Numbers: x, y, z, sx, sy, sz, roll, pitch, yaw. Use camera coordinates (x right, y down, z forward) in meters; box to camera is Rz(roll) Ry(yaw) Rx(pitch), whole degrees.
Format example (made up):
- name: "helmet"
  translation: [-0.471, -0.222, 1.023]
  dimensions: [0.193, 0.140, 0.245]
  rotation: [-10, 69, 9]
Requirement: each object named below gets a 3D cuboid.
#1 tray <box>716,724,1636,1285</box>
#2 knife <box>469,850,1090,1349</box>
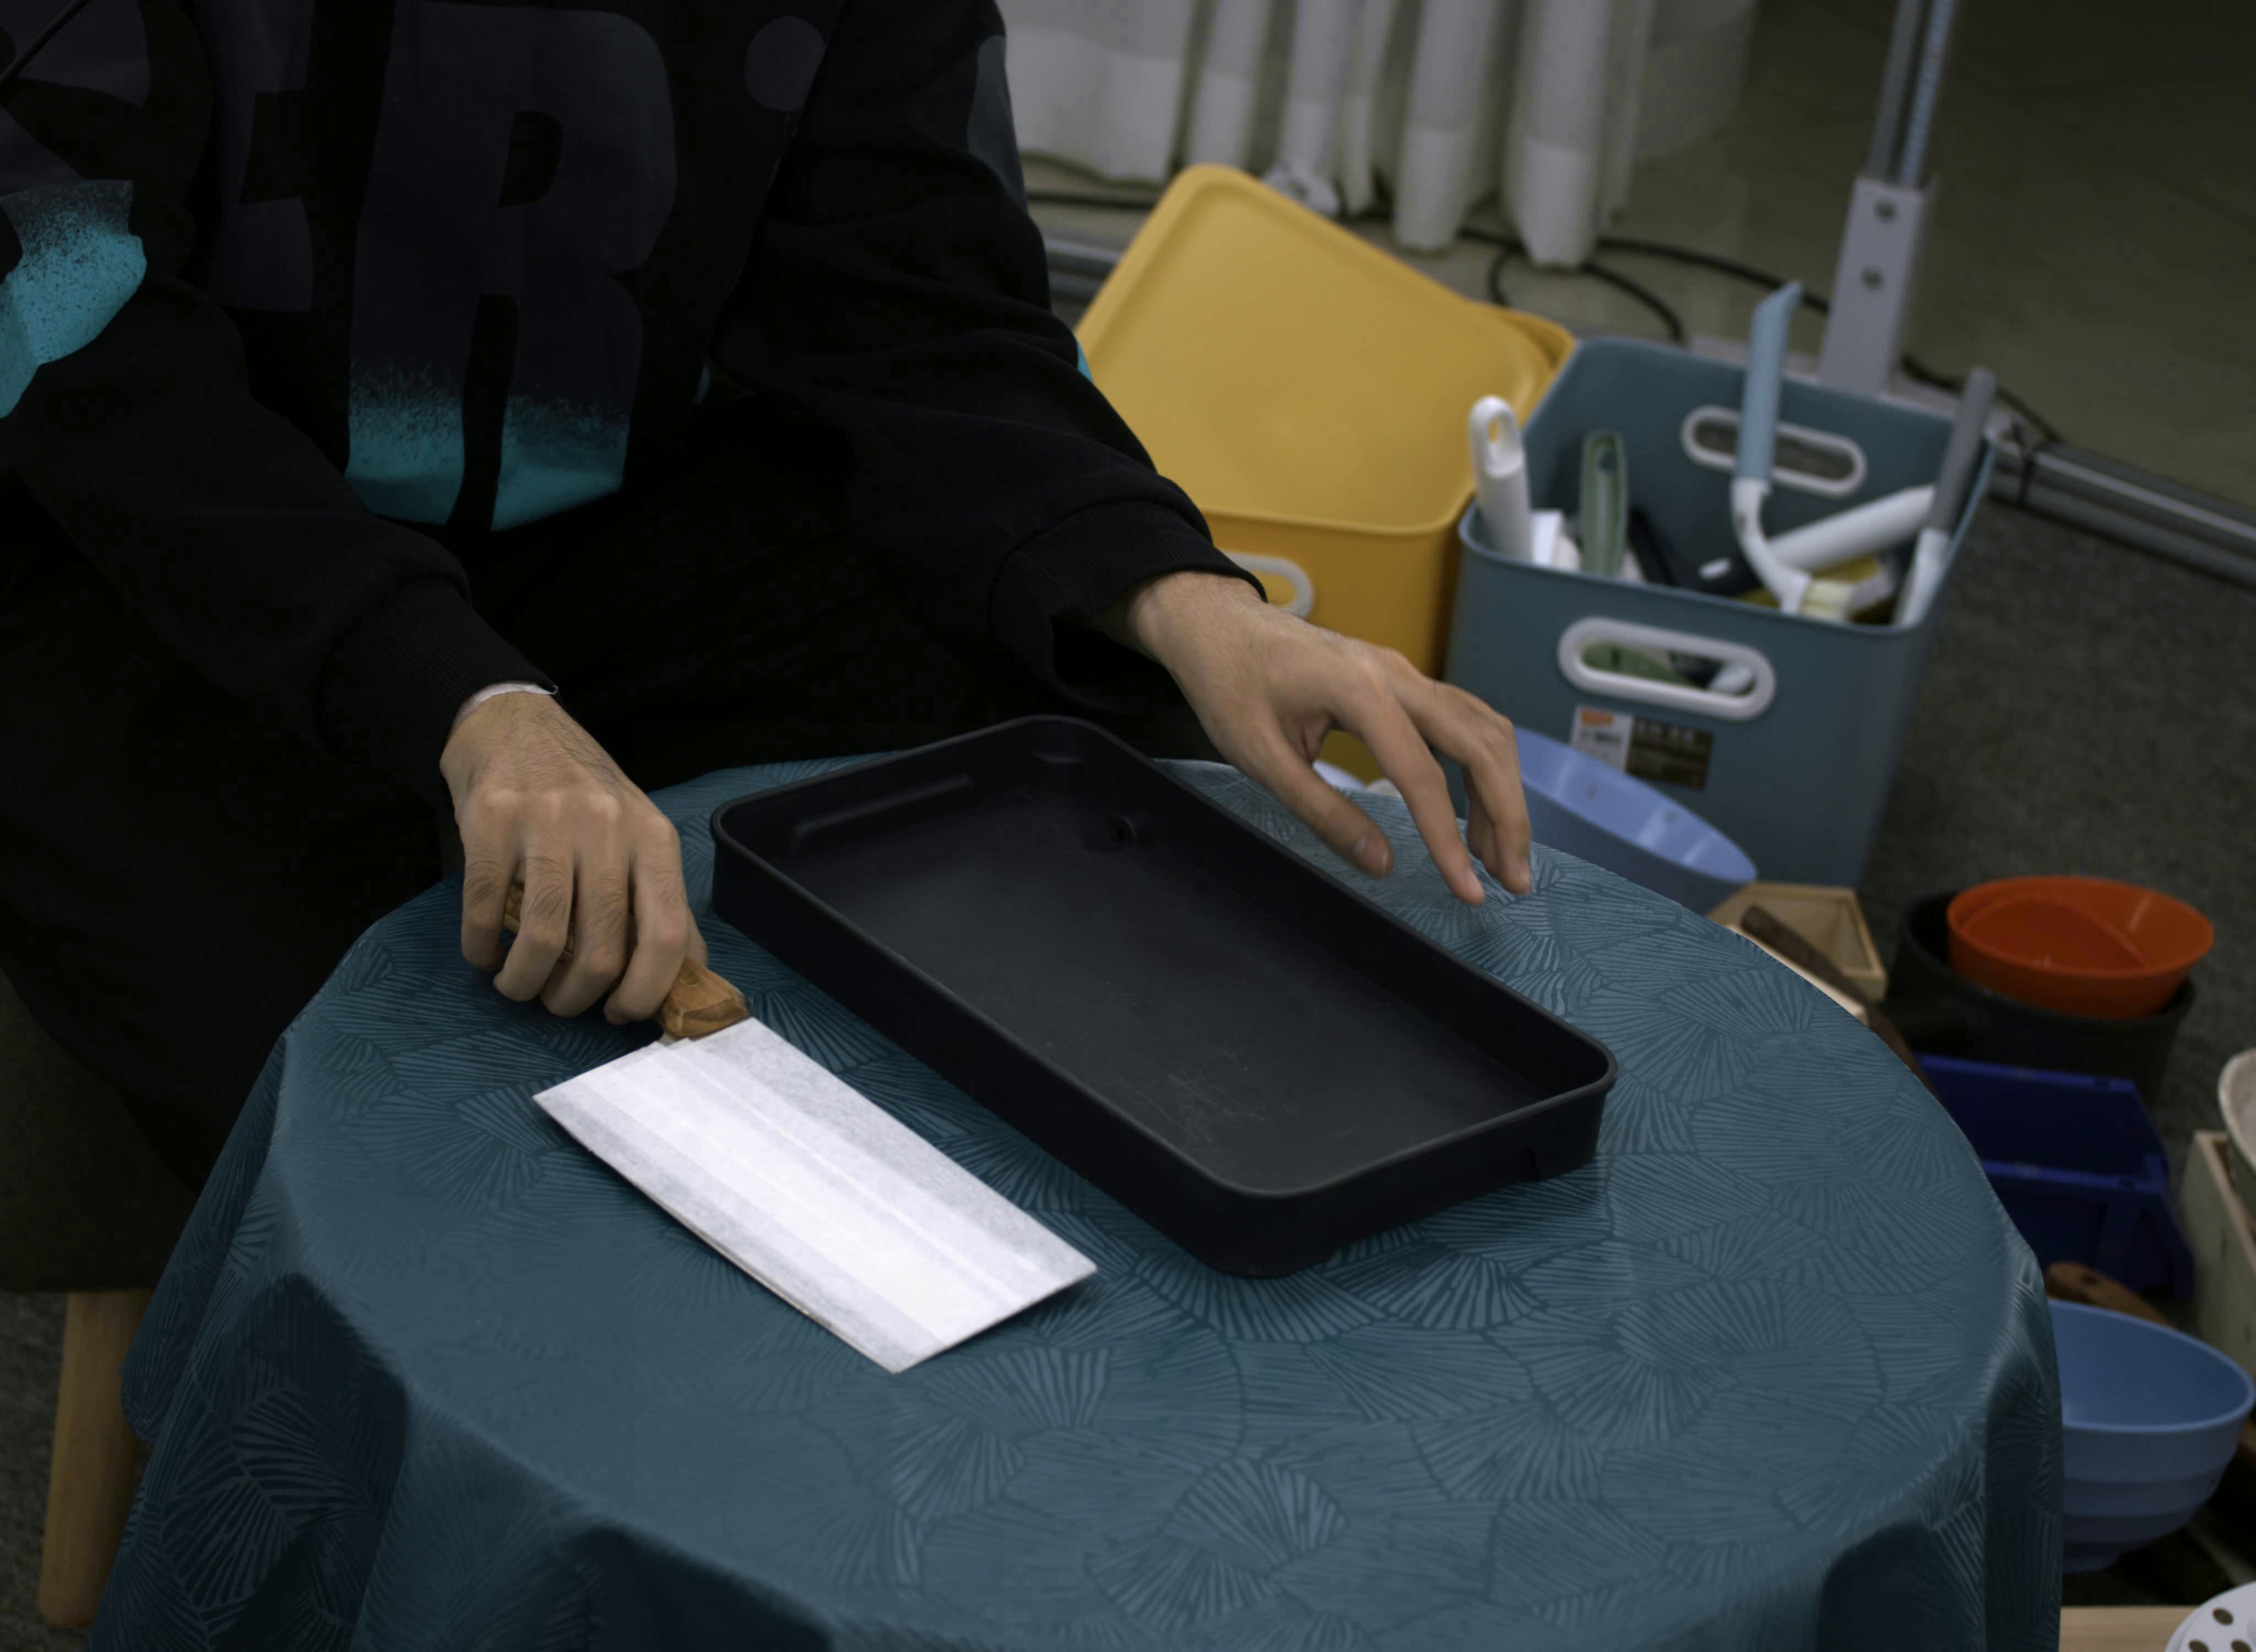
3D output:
- name: "tray"
  translation: [0.012, 0.057, 1.896]
  dimensions: [0.183, 0.037, 0.320]
  rotation: [-18, 35, -39]
- name: "knife"
  translation: [-0.143, 0.093, 1.806]
  dimensions: [0.092, 0.021, 0.308]
  rotation: [-23, 42, -36]
